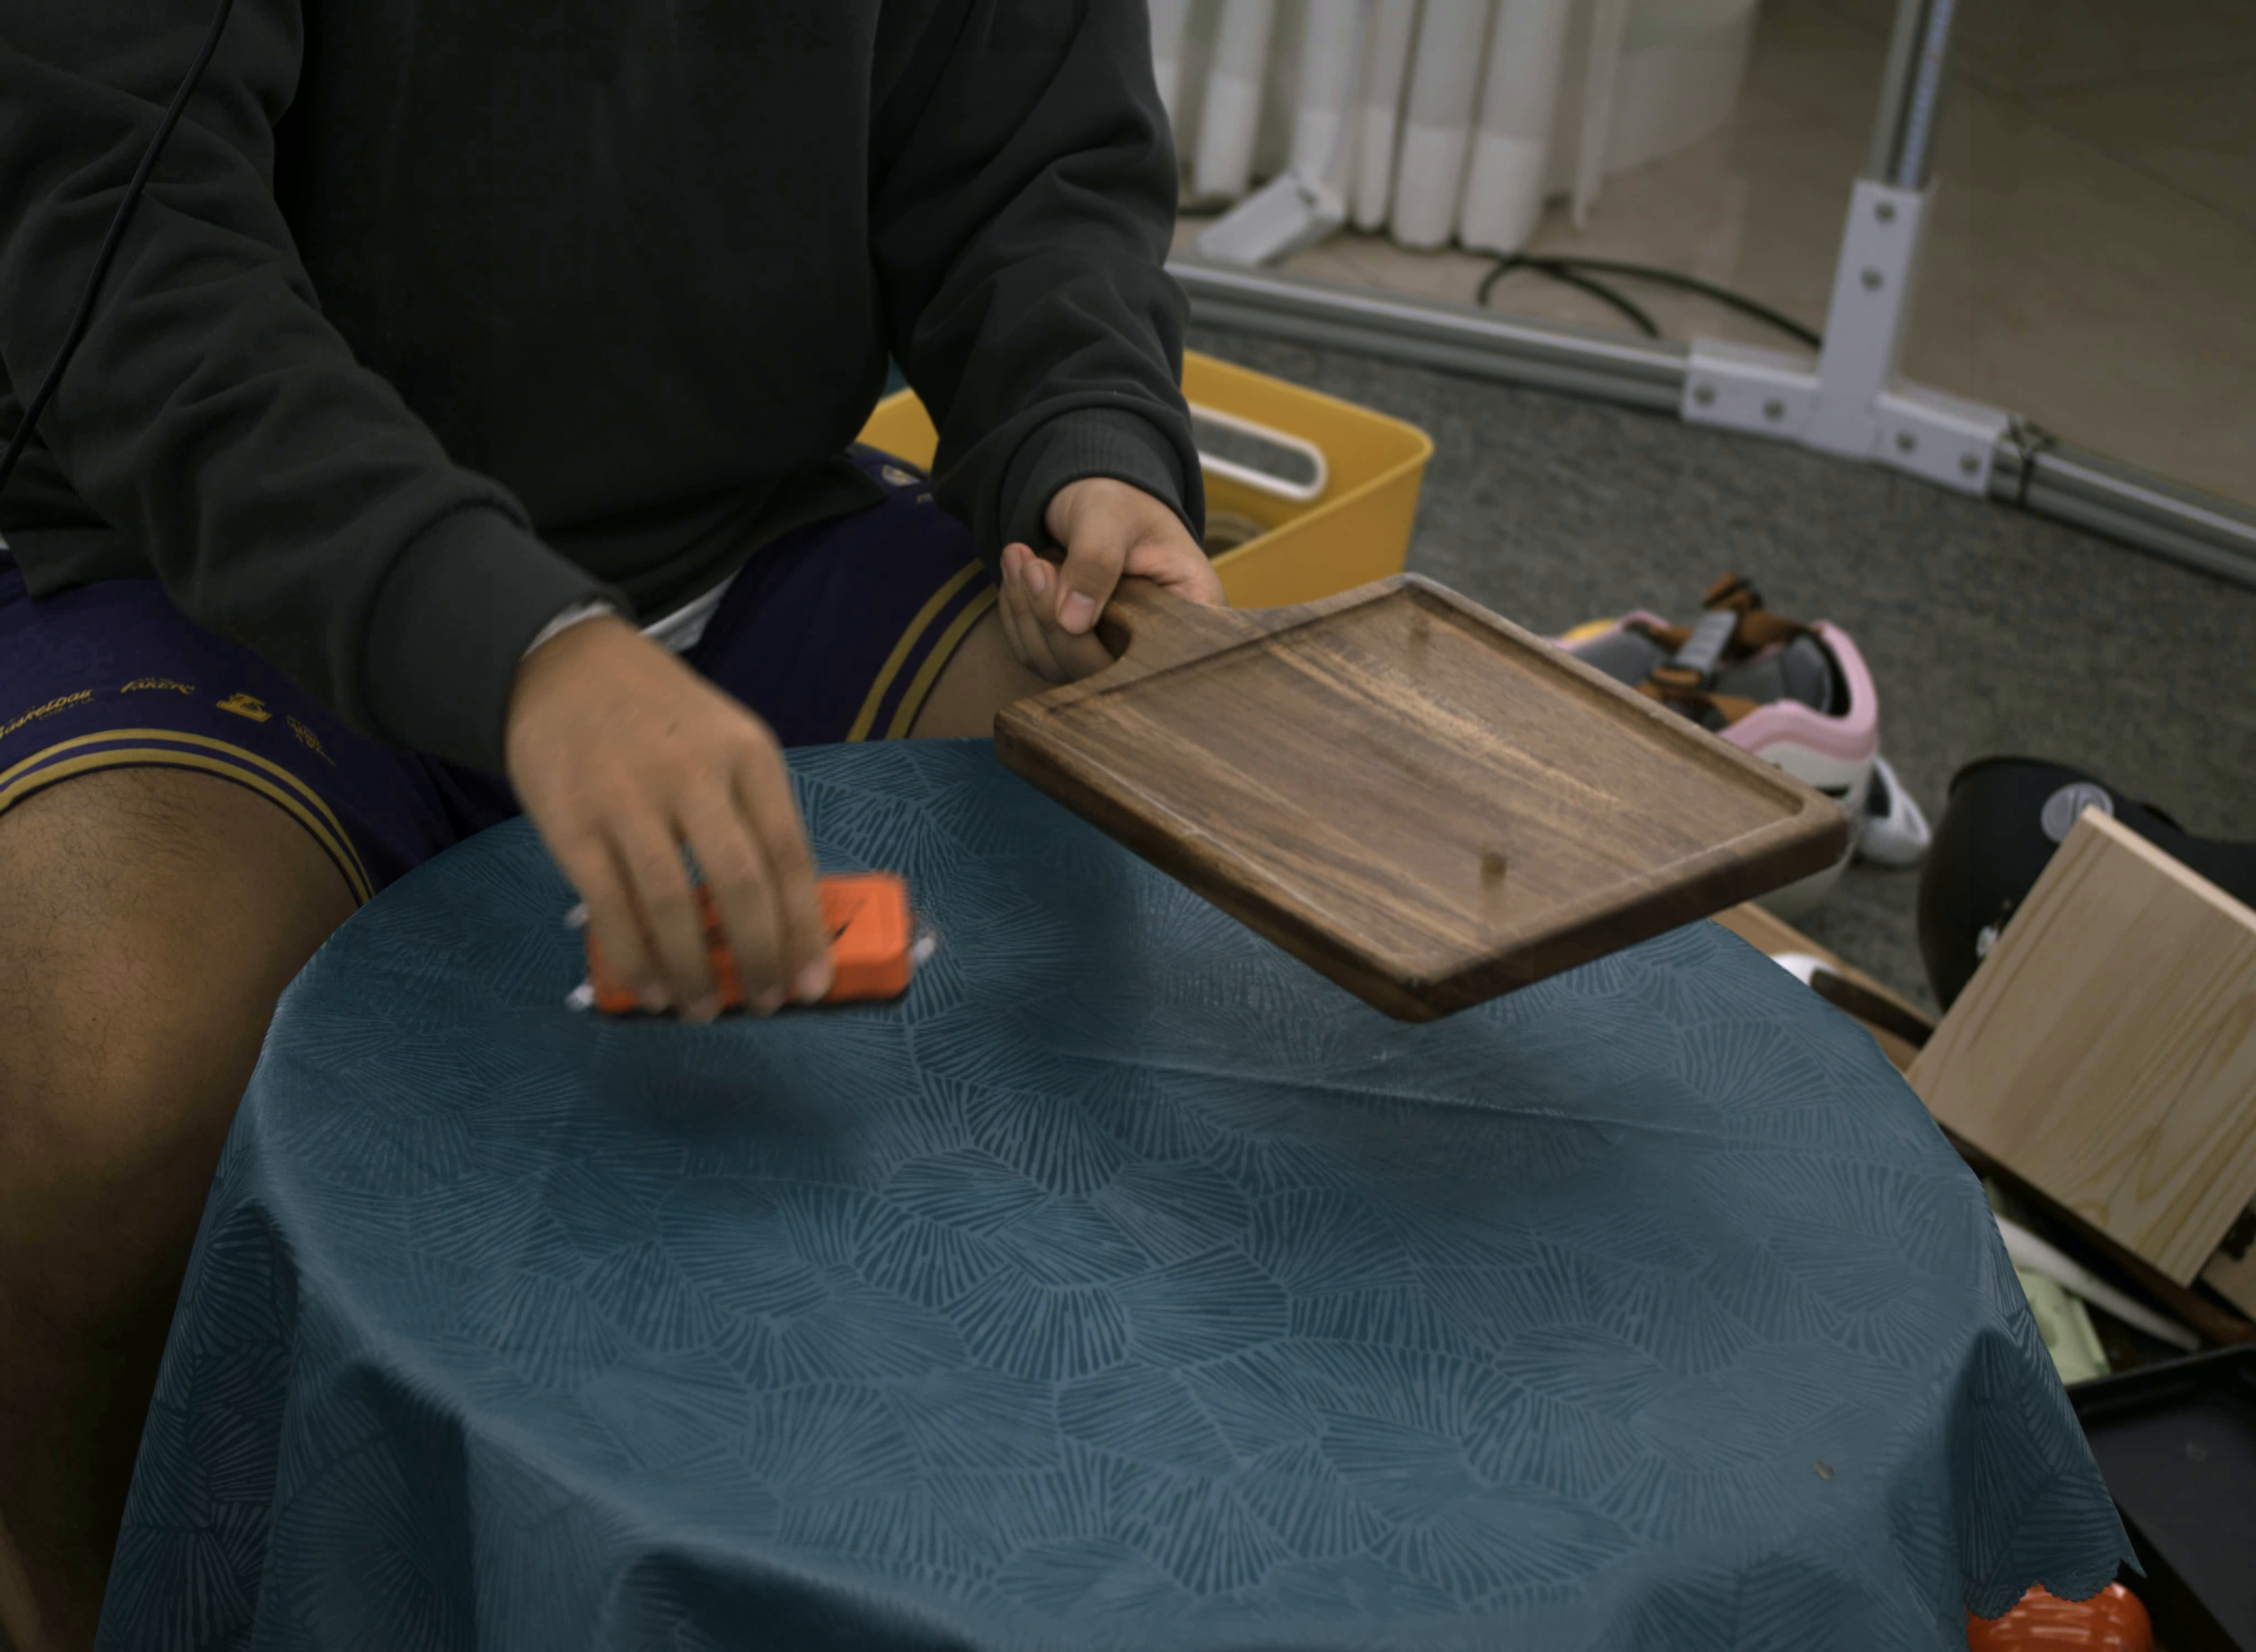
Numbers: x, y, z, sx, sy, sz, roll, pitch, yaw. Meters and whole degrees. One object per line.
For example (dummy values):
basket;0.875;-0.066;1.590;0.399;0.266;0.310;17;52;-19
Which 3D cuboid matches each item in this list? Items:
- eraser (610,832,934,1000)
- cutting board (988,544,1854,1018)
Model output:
eraser;-0.121;0.030;1.800;0.107;0.023;0.059;-5;32;-3
cutting board;0.070;-0.035;1.894;0.200;0.023;0.355;-20;32;-30
